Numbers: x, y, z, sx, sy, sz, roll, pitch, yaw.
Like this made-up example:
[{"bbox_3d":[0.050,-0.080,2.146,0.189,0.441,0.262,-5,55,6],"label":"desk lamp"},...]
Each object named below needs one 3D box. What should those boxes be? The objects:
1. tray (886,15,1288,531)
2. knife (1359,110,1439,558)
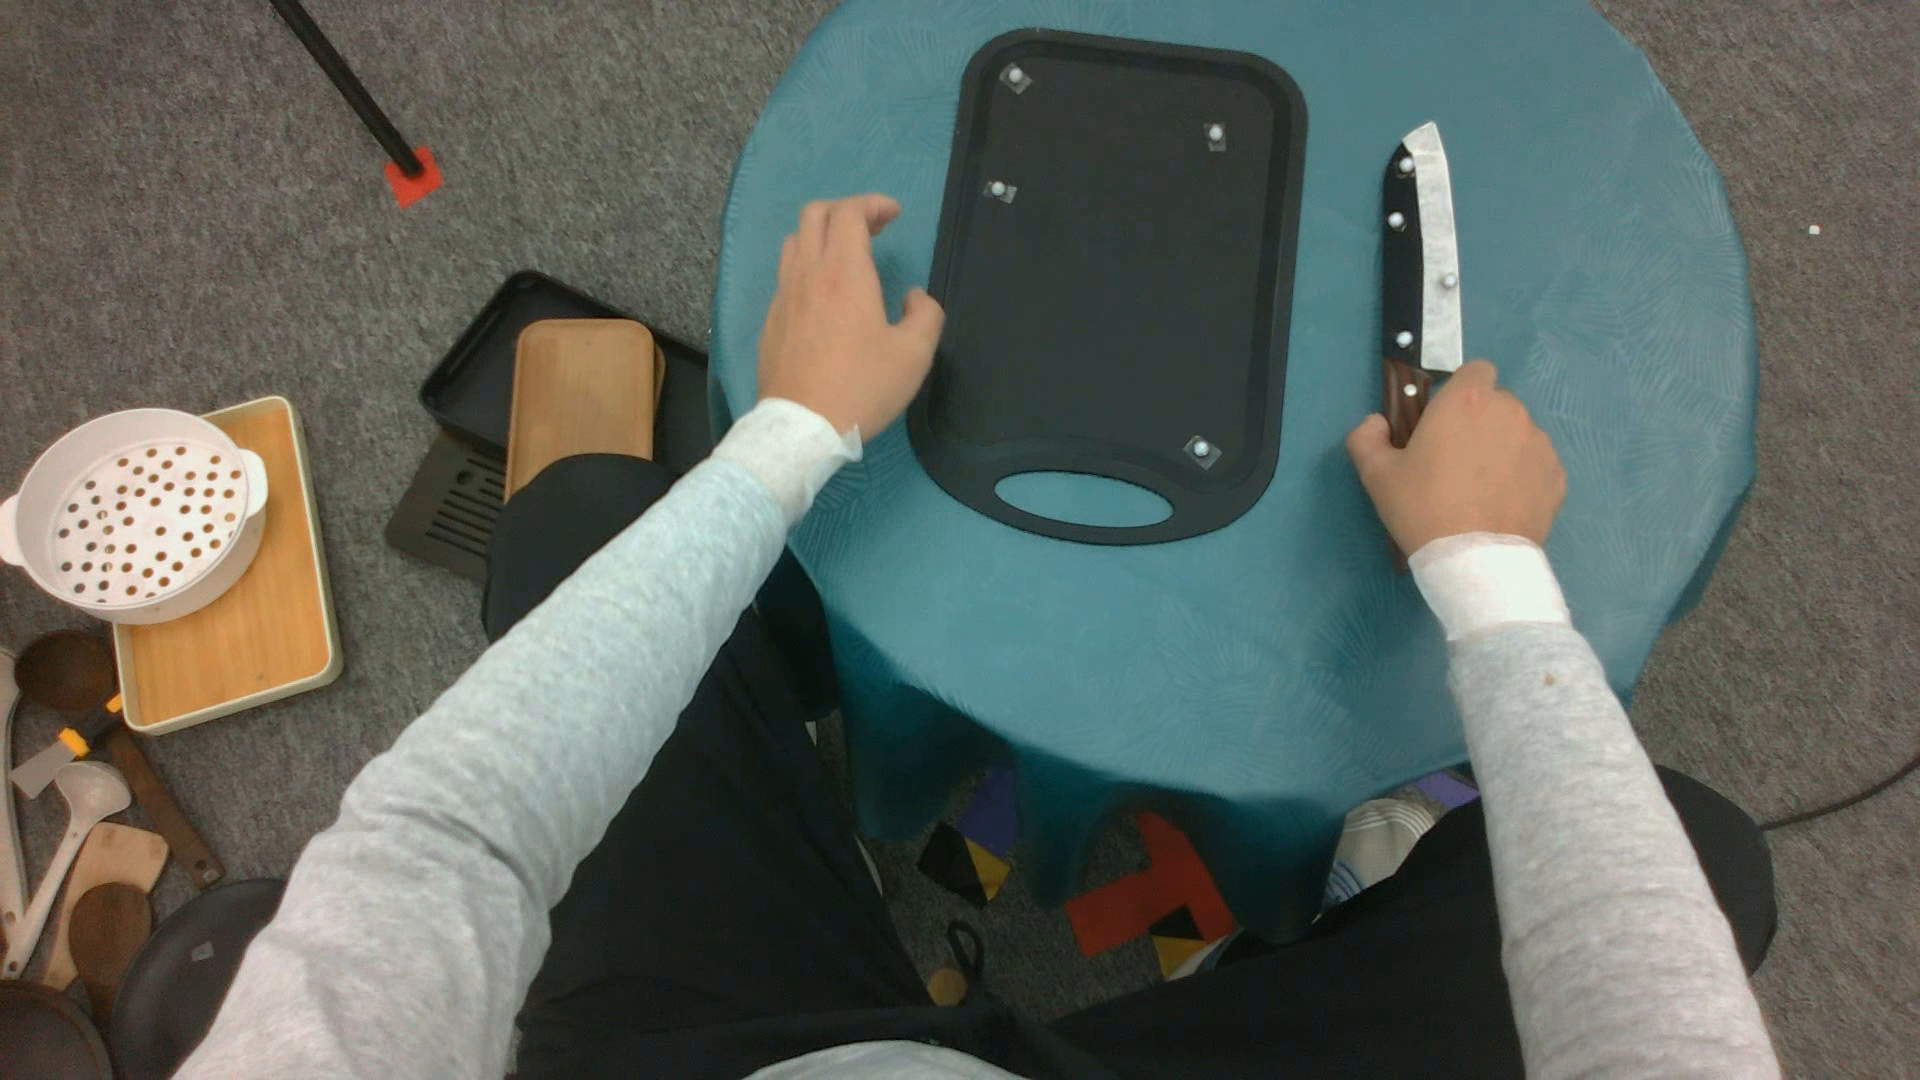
[{"bbox_3d":[0.077,-0.161,0.798,0.211,0.010,0.326,8,73,2],"label":"tray"},{"bbox_3d":[0.249,-0.125,0.783,0.050,0.020,0.290,9,70,-4],"label":"knife"}]
